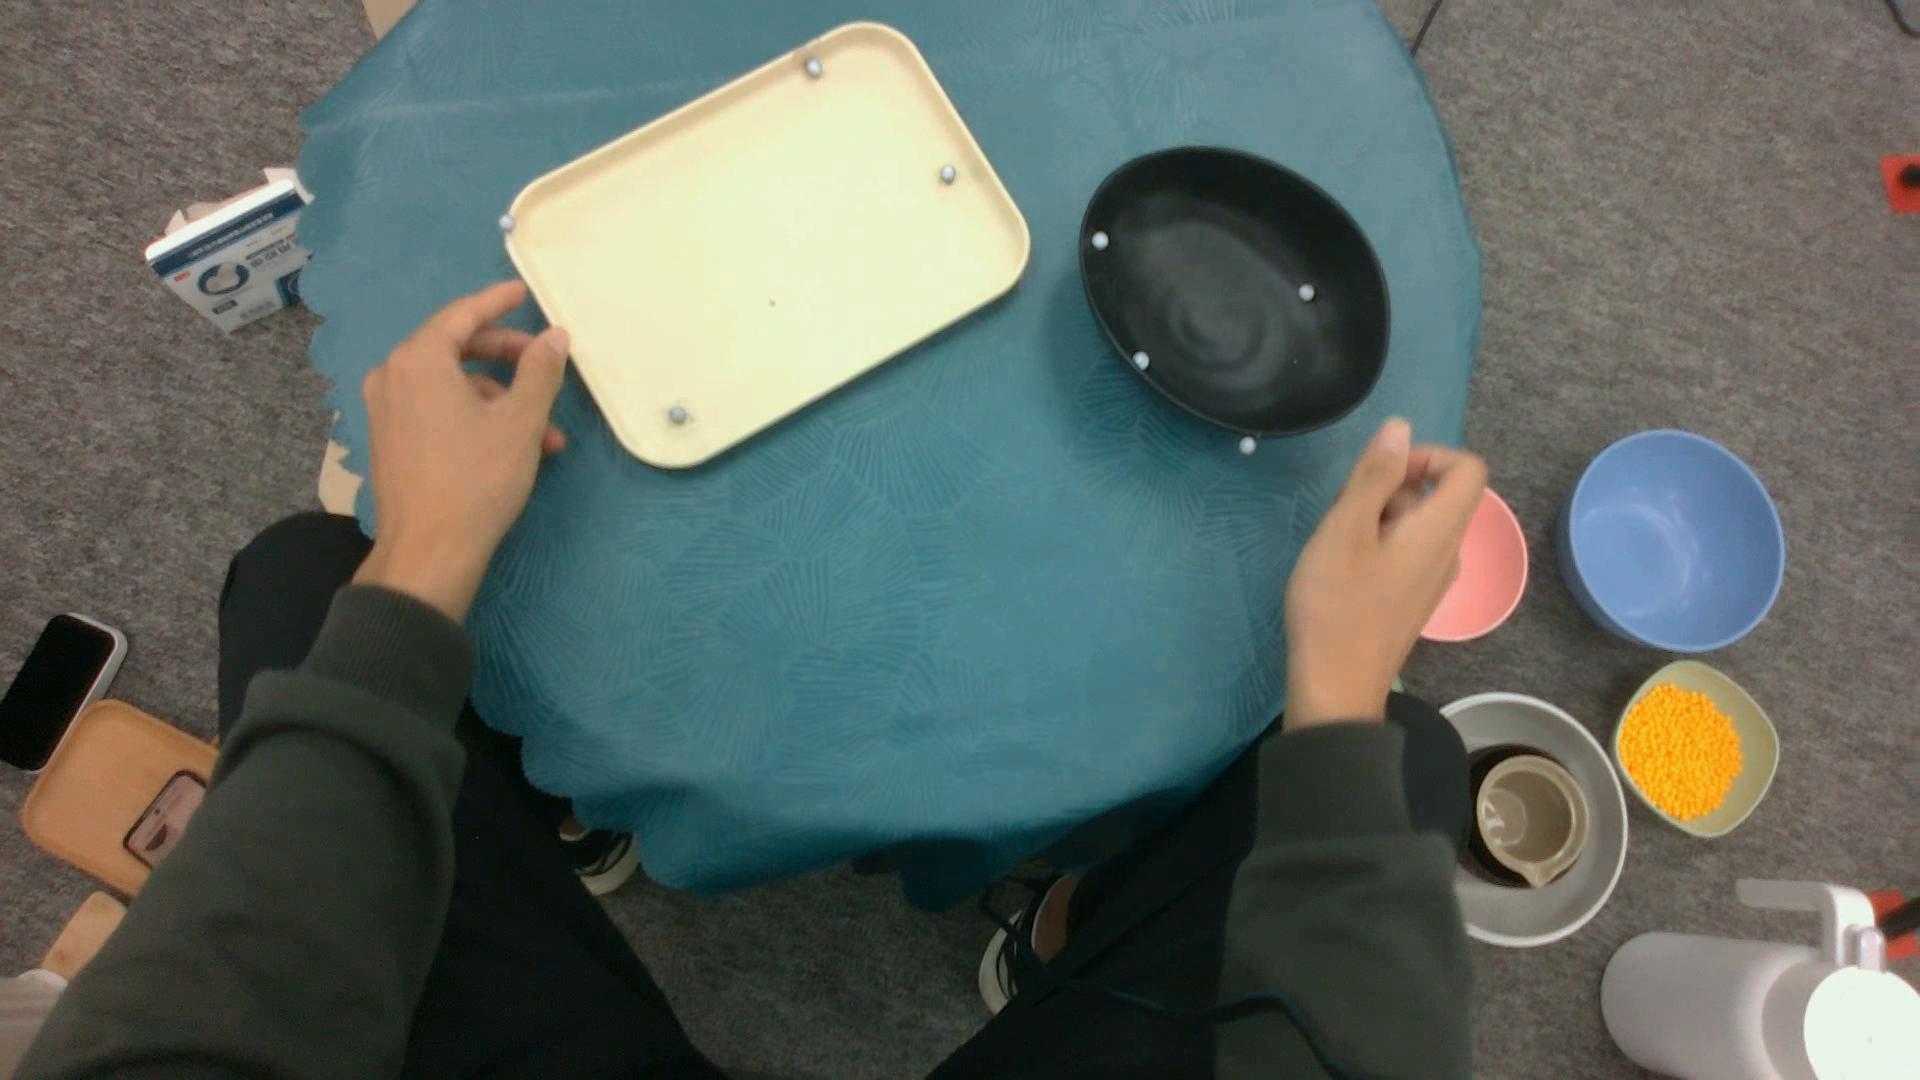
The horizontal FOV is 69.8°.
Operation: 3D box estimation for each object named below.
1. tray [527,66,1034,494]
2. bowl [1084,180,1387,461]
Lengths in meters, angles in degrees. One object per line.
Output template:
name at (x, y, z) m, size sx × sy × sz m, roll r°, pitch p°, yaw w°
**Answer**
tray at (-0.094, -0.142, 0.737) m, size 0.240 × 0.017 × 0.171 m, roll -31°, pitch 81°, yaw -10°
bowl at (0.136, -0.107, 0.721) m, size 0.170 × 0.066 × 0.137 m, roll 42°, pitch 76°, yaw 8°
